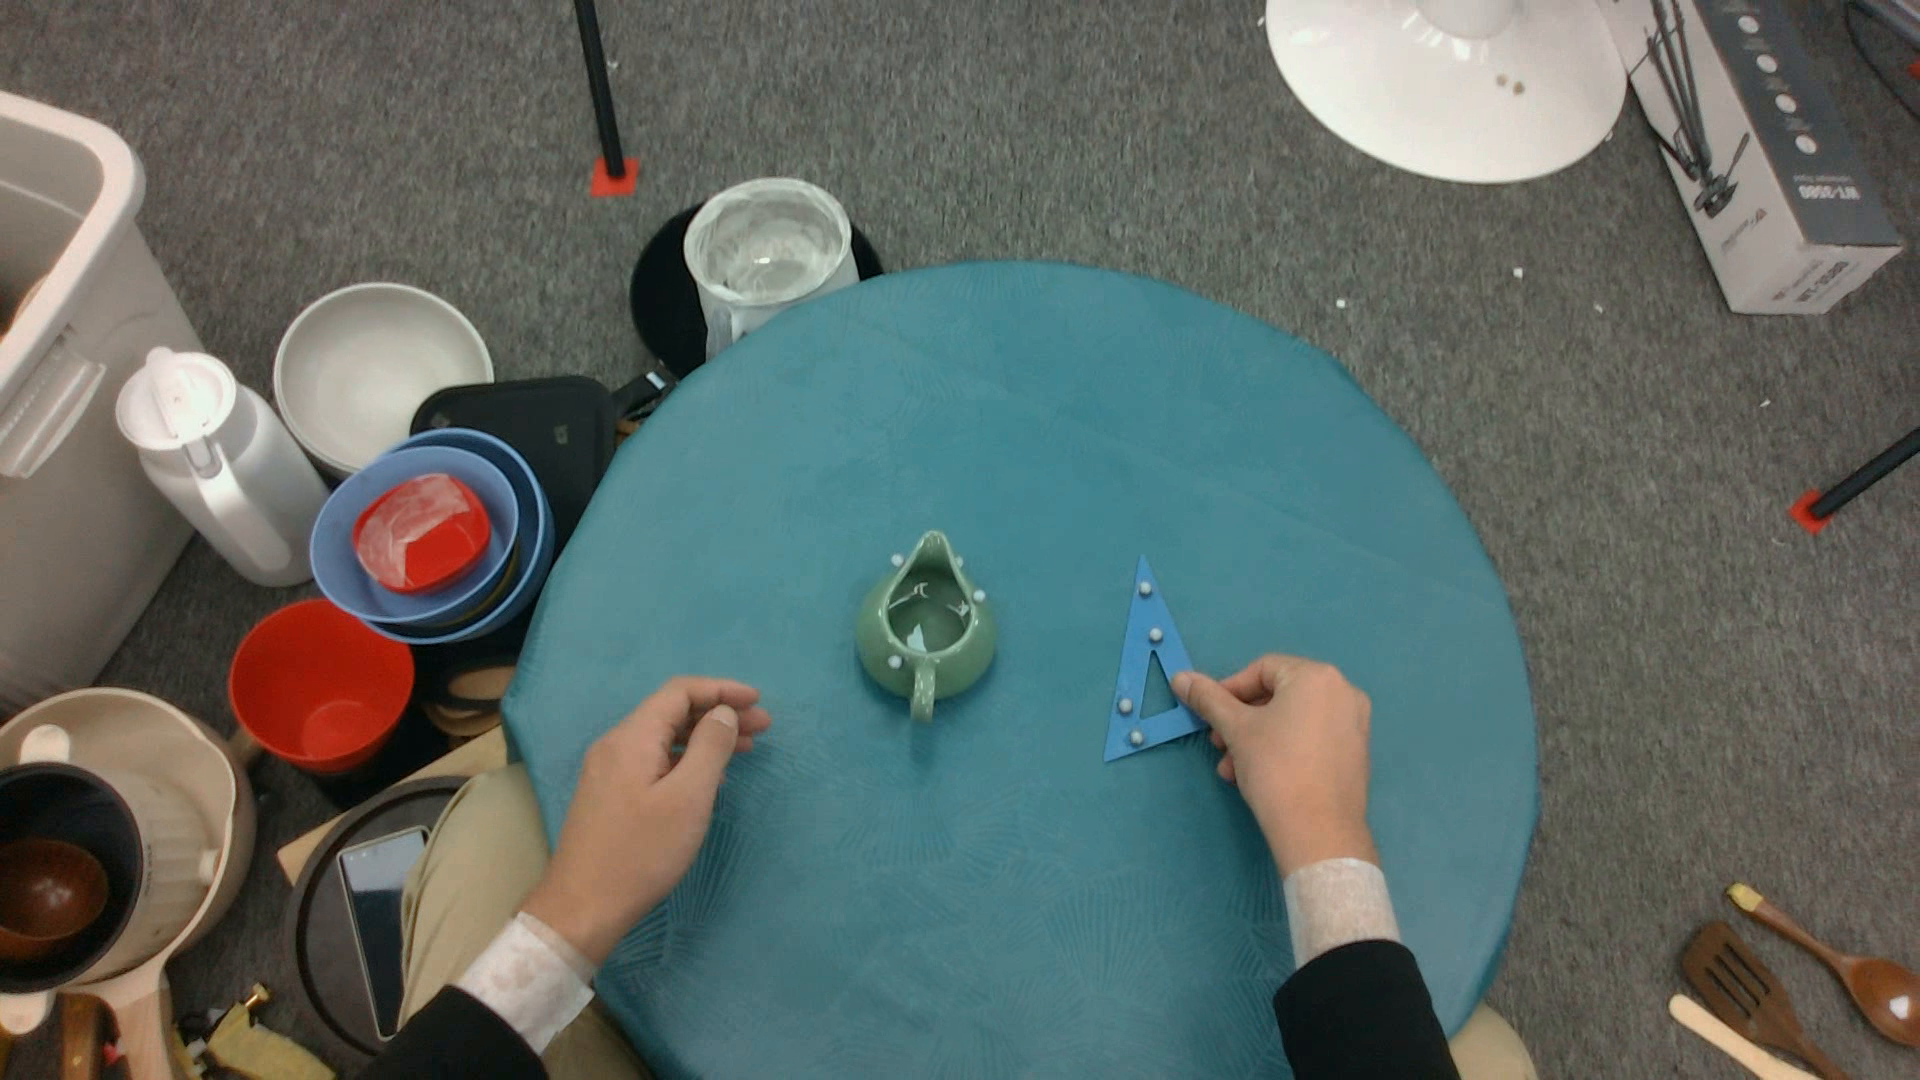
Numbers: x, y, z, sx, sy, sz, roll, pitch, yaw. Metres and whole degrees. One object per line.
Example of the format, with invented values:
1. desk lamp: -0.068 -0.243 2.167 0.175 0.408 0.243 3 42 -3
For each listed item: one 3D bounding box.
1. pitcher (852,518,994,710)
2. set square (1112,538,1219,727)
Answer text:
1. pitcher: -0.021 0.049 0.799 0.084 0.056 0.113 2 64 -1
2. set square: 0.133 0.058 0.831 0.061 0.006 0.132 12 63 12
